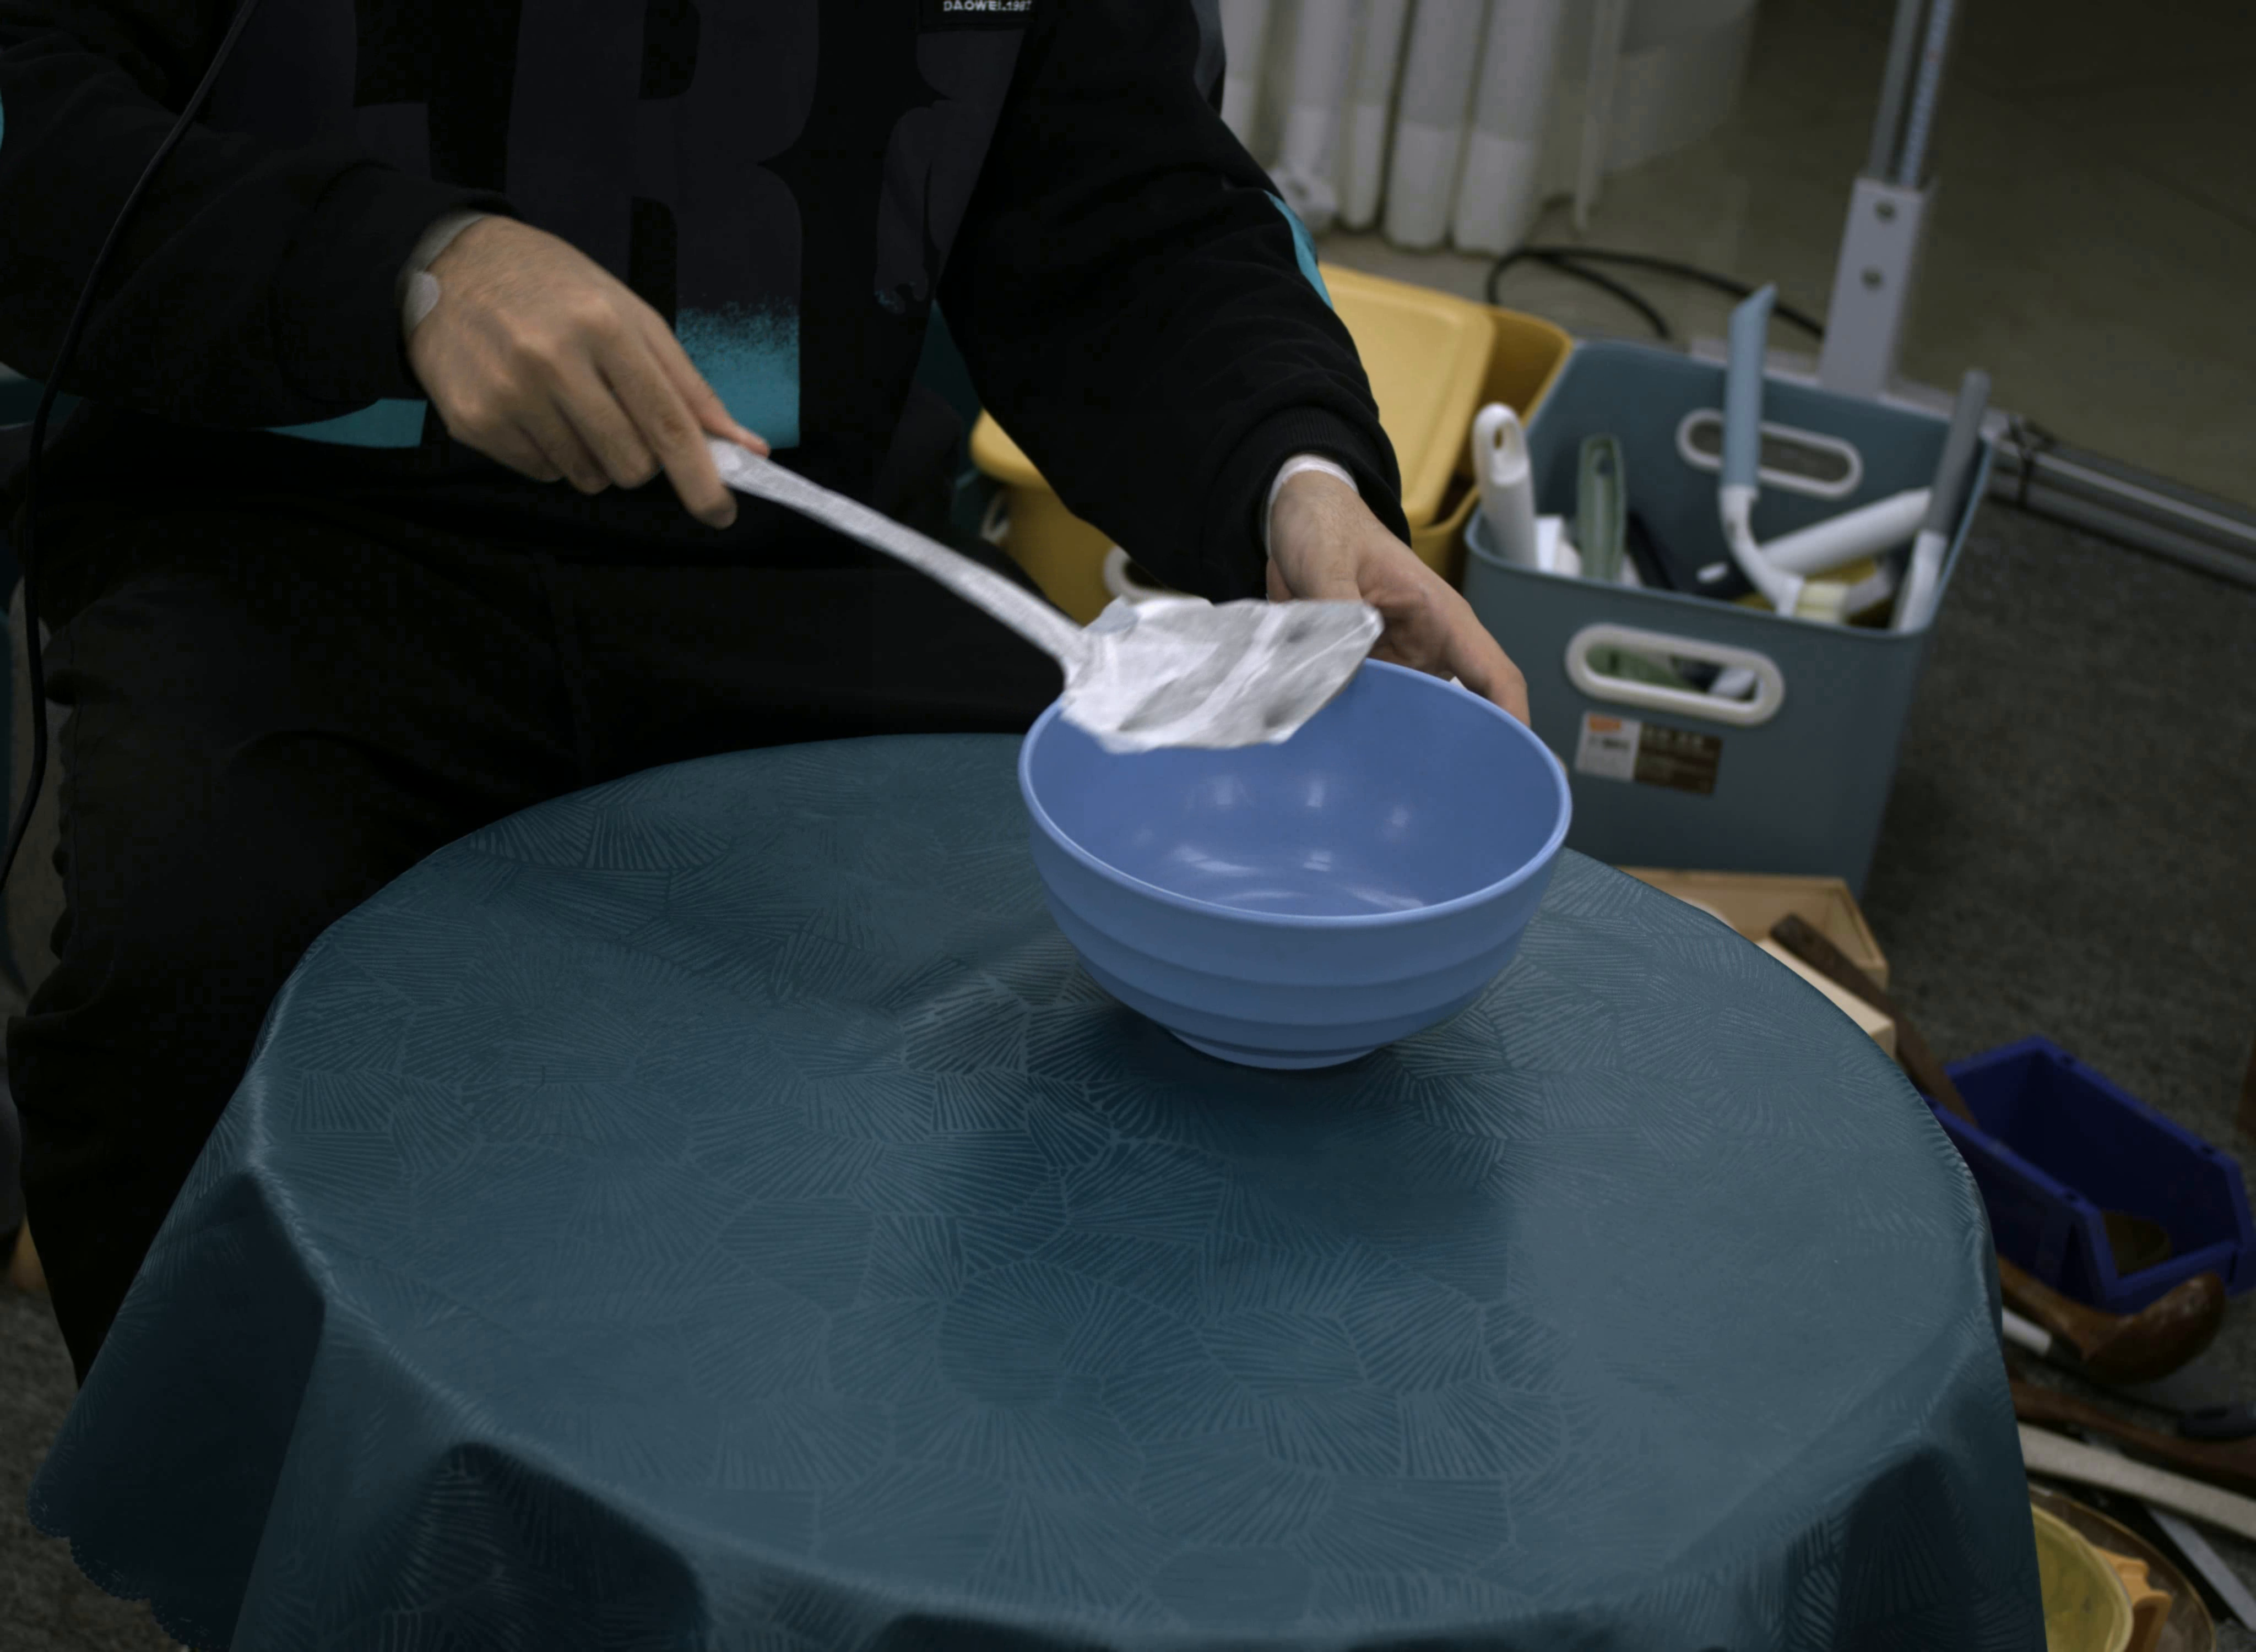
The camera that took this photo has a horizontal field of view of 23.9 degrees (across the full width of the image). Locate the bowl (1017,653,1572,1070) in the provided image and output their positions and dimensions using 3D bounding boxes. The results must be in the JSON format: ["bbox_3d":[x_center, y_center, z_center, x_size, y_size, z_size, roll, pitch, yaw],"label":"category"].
[{"bbox_3d":[0.056,0.023,1.897,0.196,0.095,0.198,3,30,-2],"label":"bowl"}]

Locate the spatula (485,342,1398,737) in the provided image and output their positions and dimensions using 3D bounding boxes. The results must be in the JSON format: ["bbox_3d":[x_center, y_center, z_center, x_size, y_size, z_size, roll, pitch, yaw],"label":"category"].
[{"bbox_3d":[-0.080,-0.109,1.841,0.366,0.044,0.099,25,45,19],"label":"spatula"}]
